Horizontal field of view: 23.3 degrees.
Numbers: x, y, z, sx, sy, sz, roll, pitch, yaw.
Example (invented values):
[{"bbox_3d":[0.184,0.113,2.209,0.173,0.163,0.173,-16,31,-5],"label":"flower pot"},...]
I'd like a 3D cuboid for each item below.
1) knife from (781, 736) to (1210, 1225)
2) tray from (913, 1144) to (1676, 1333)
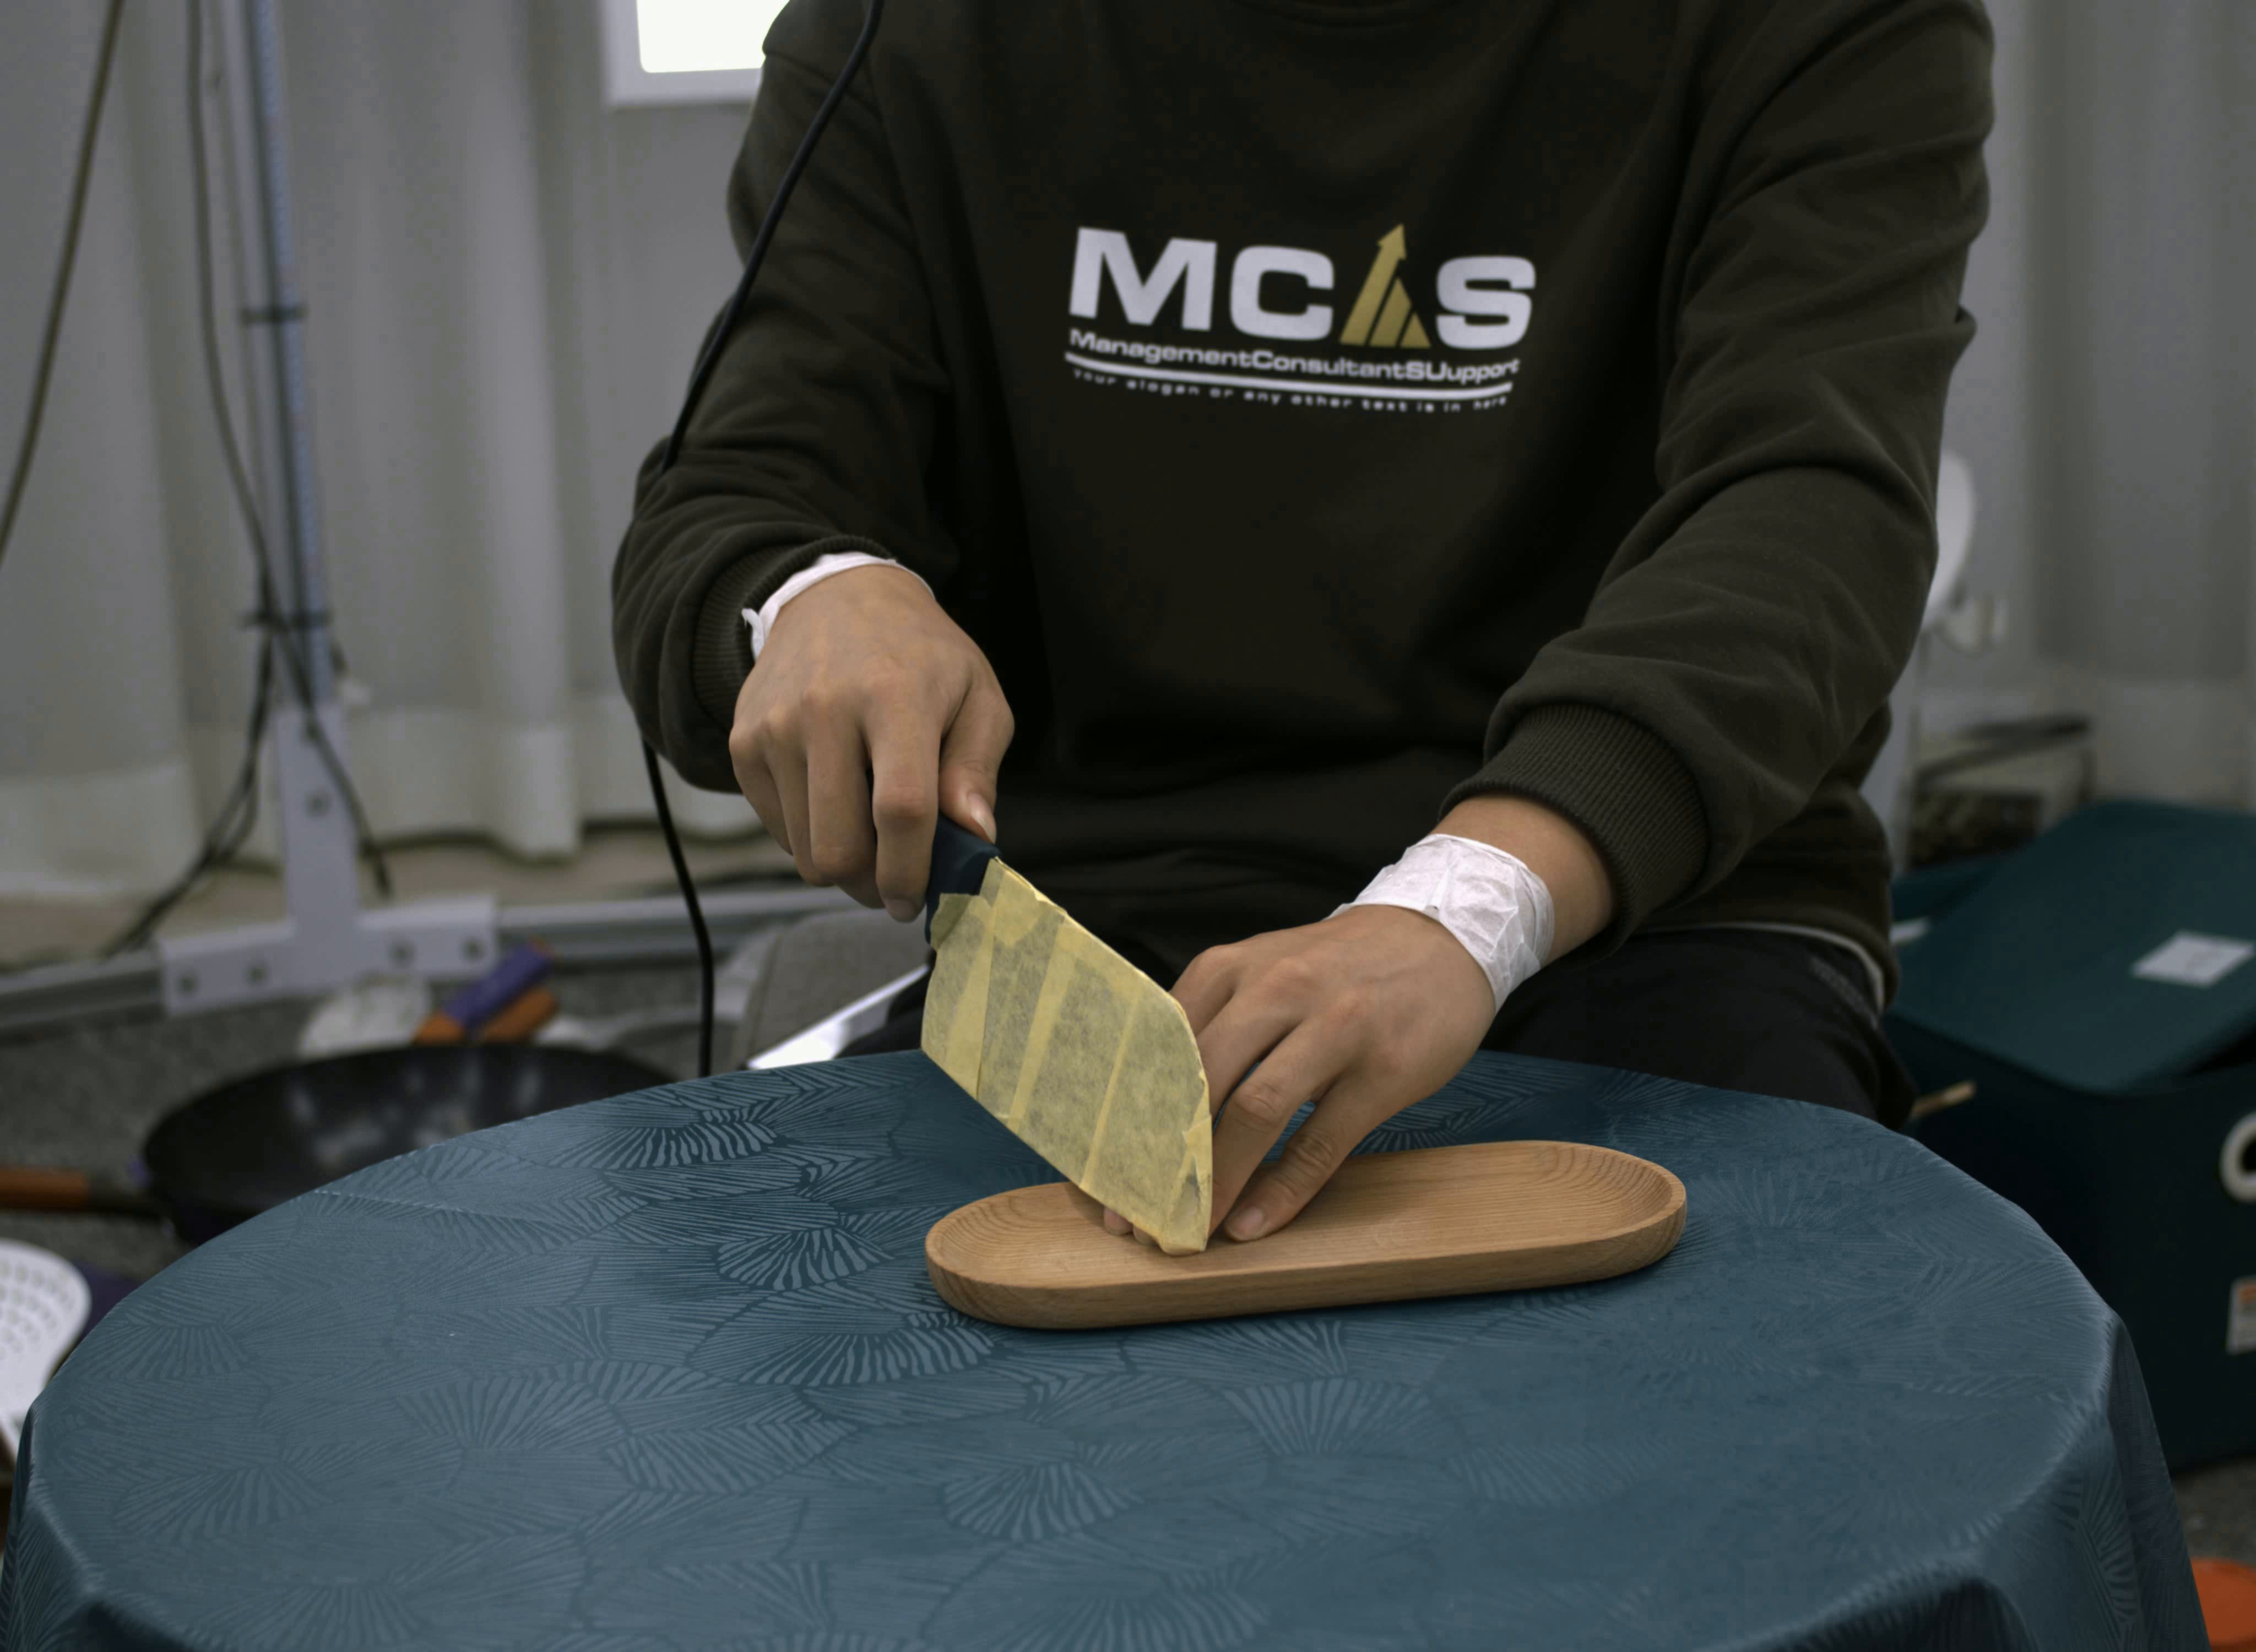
[{"bbox_3d":[-0.044,0.044,1.725,0.027,0.080,0.293,9,20,-33],"label":"knife"},{"bbox_3d":[0.050,0.124,1.642,0.230,0.020,0.102,-6,13,-6],"label":"tray"}]
